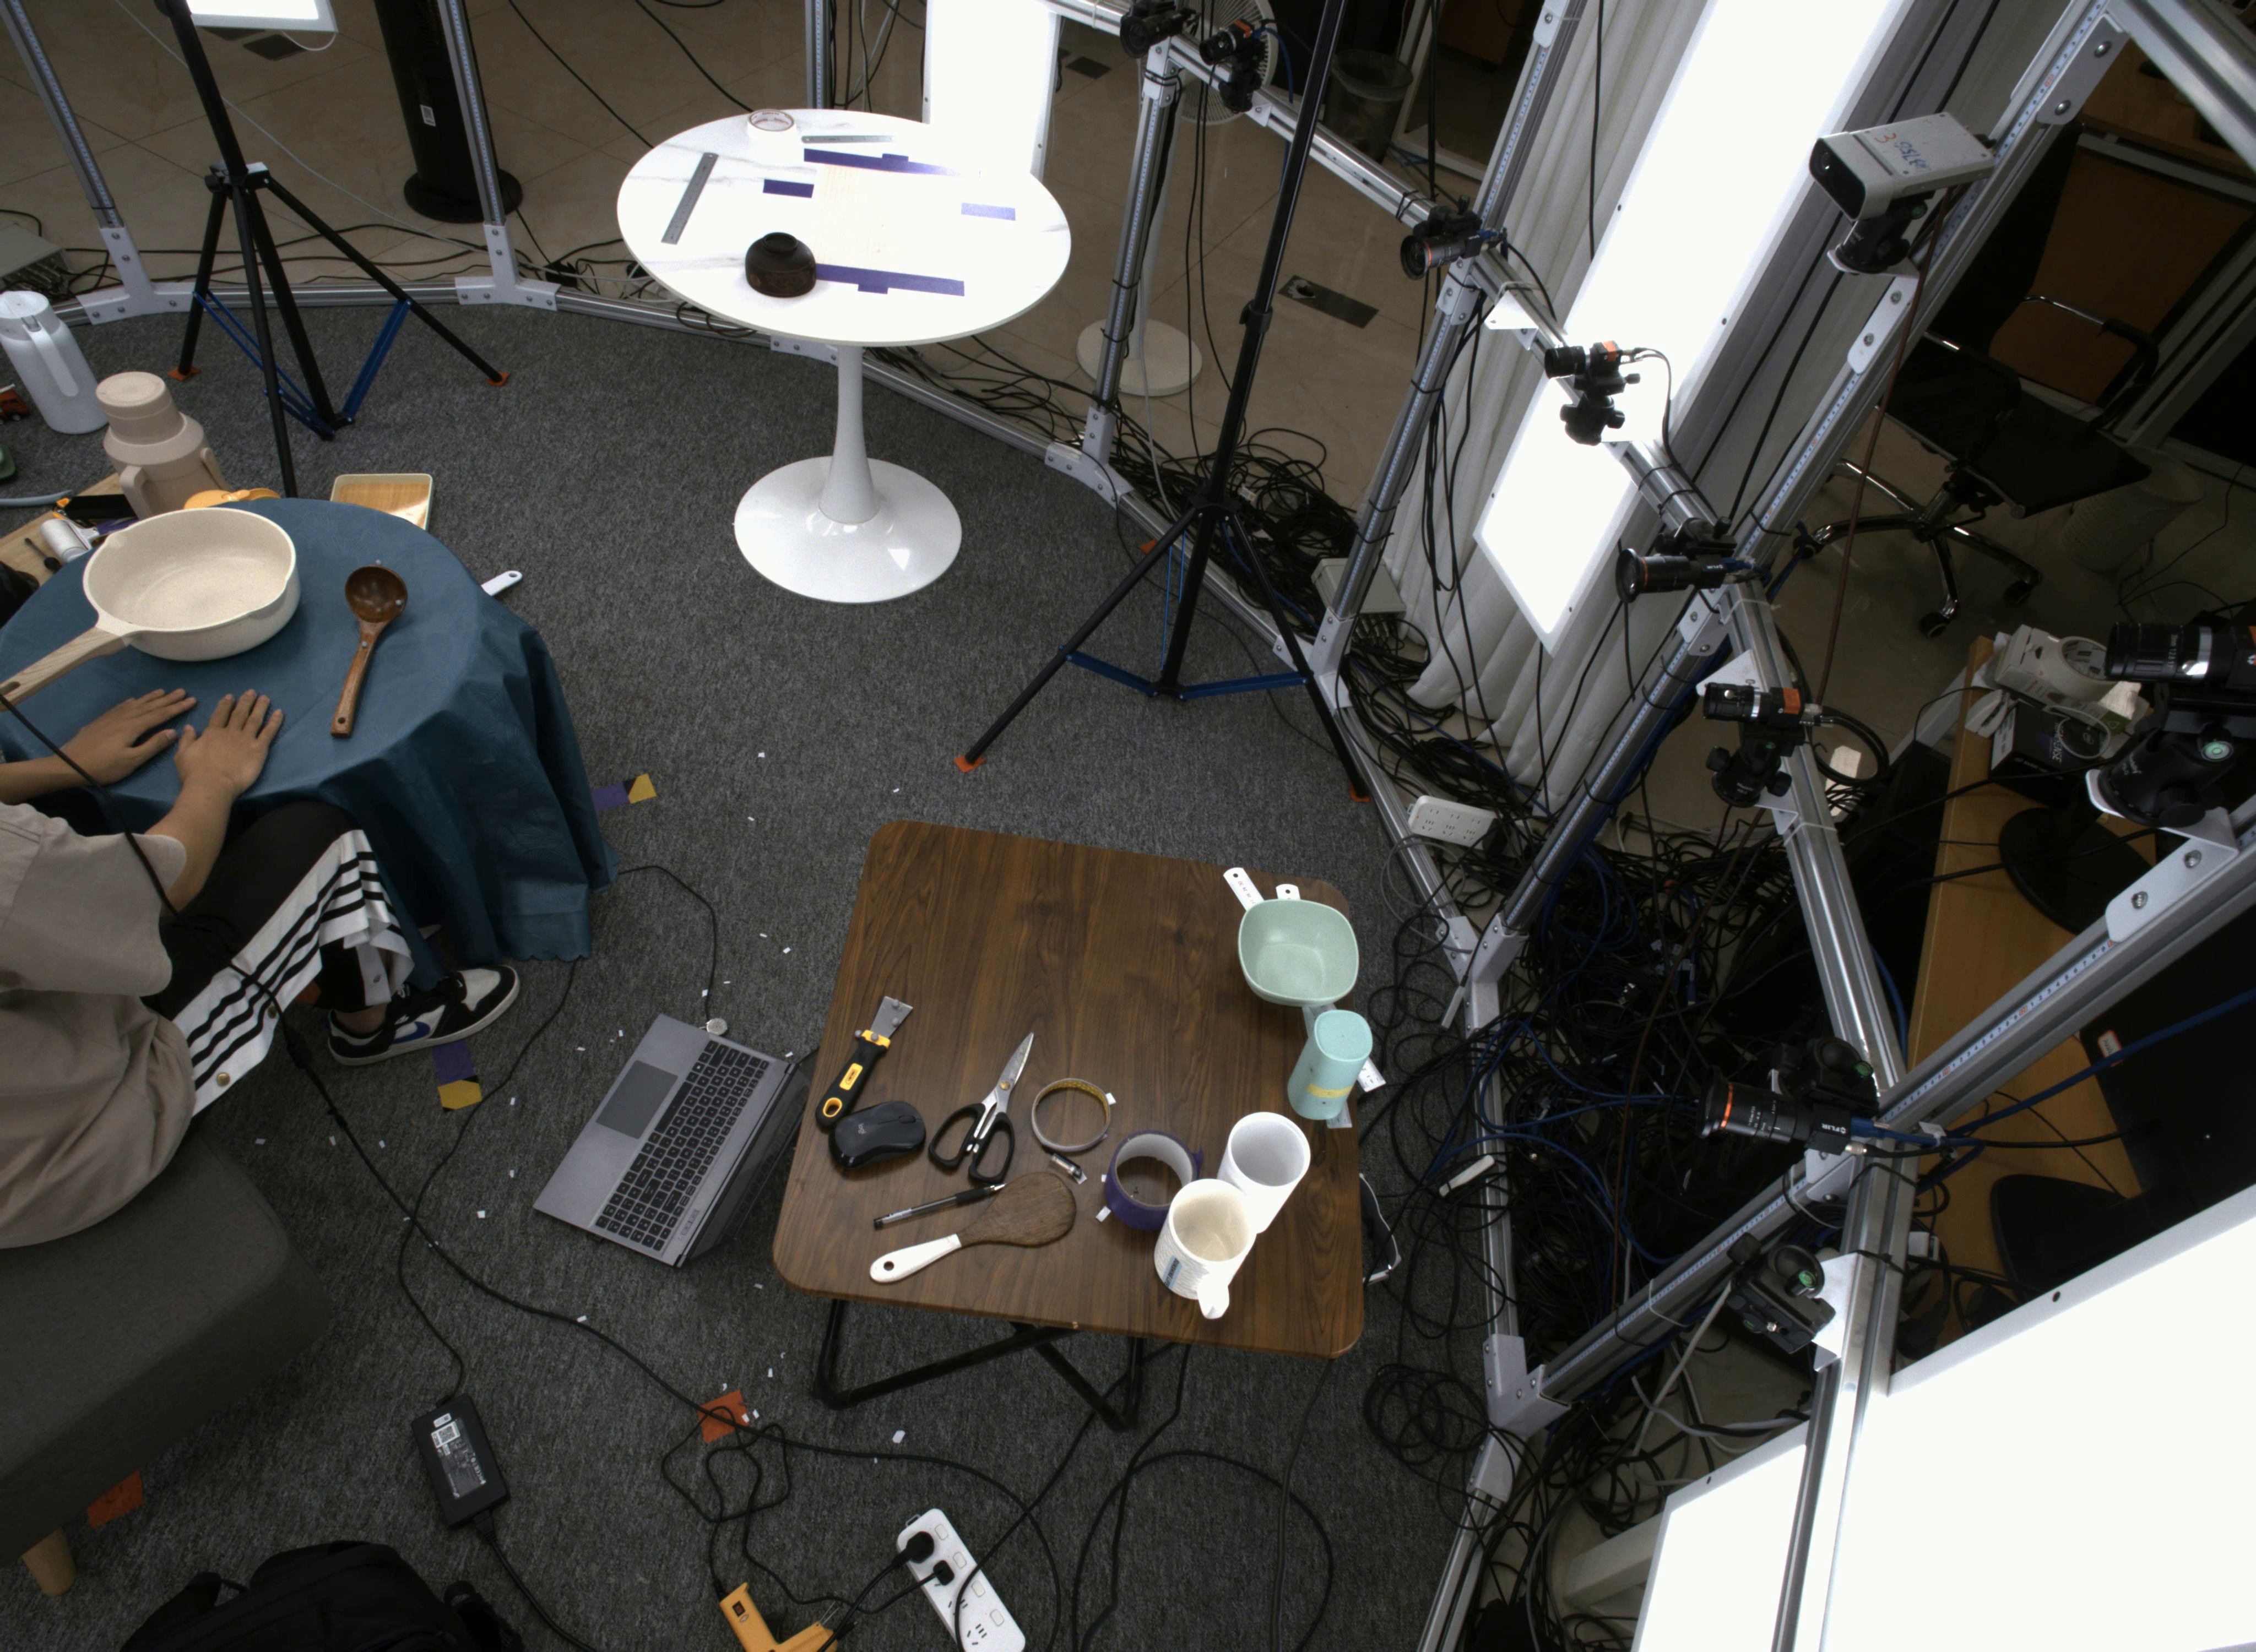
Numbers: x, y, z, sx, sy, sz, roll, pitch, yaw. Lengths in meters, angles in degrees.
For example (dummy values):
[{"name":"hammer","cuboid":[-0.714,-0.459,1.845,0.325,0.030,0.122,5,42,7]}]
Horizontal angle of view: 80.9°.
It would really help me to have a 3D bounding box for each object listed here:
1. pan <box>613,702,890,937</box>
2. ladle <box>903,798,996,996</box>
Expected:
[{"name":"pan","cuboid":[-0.488,0.010,1.648,0.259,0.104,0.434,33,54,11]},{"name":"ladle","cuboid":[-0.234,0.083,1.667,0.081,0.078,0.270,15,51,-2]}]
